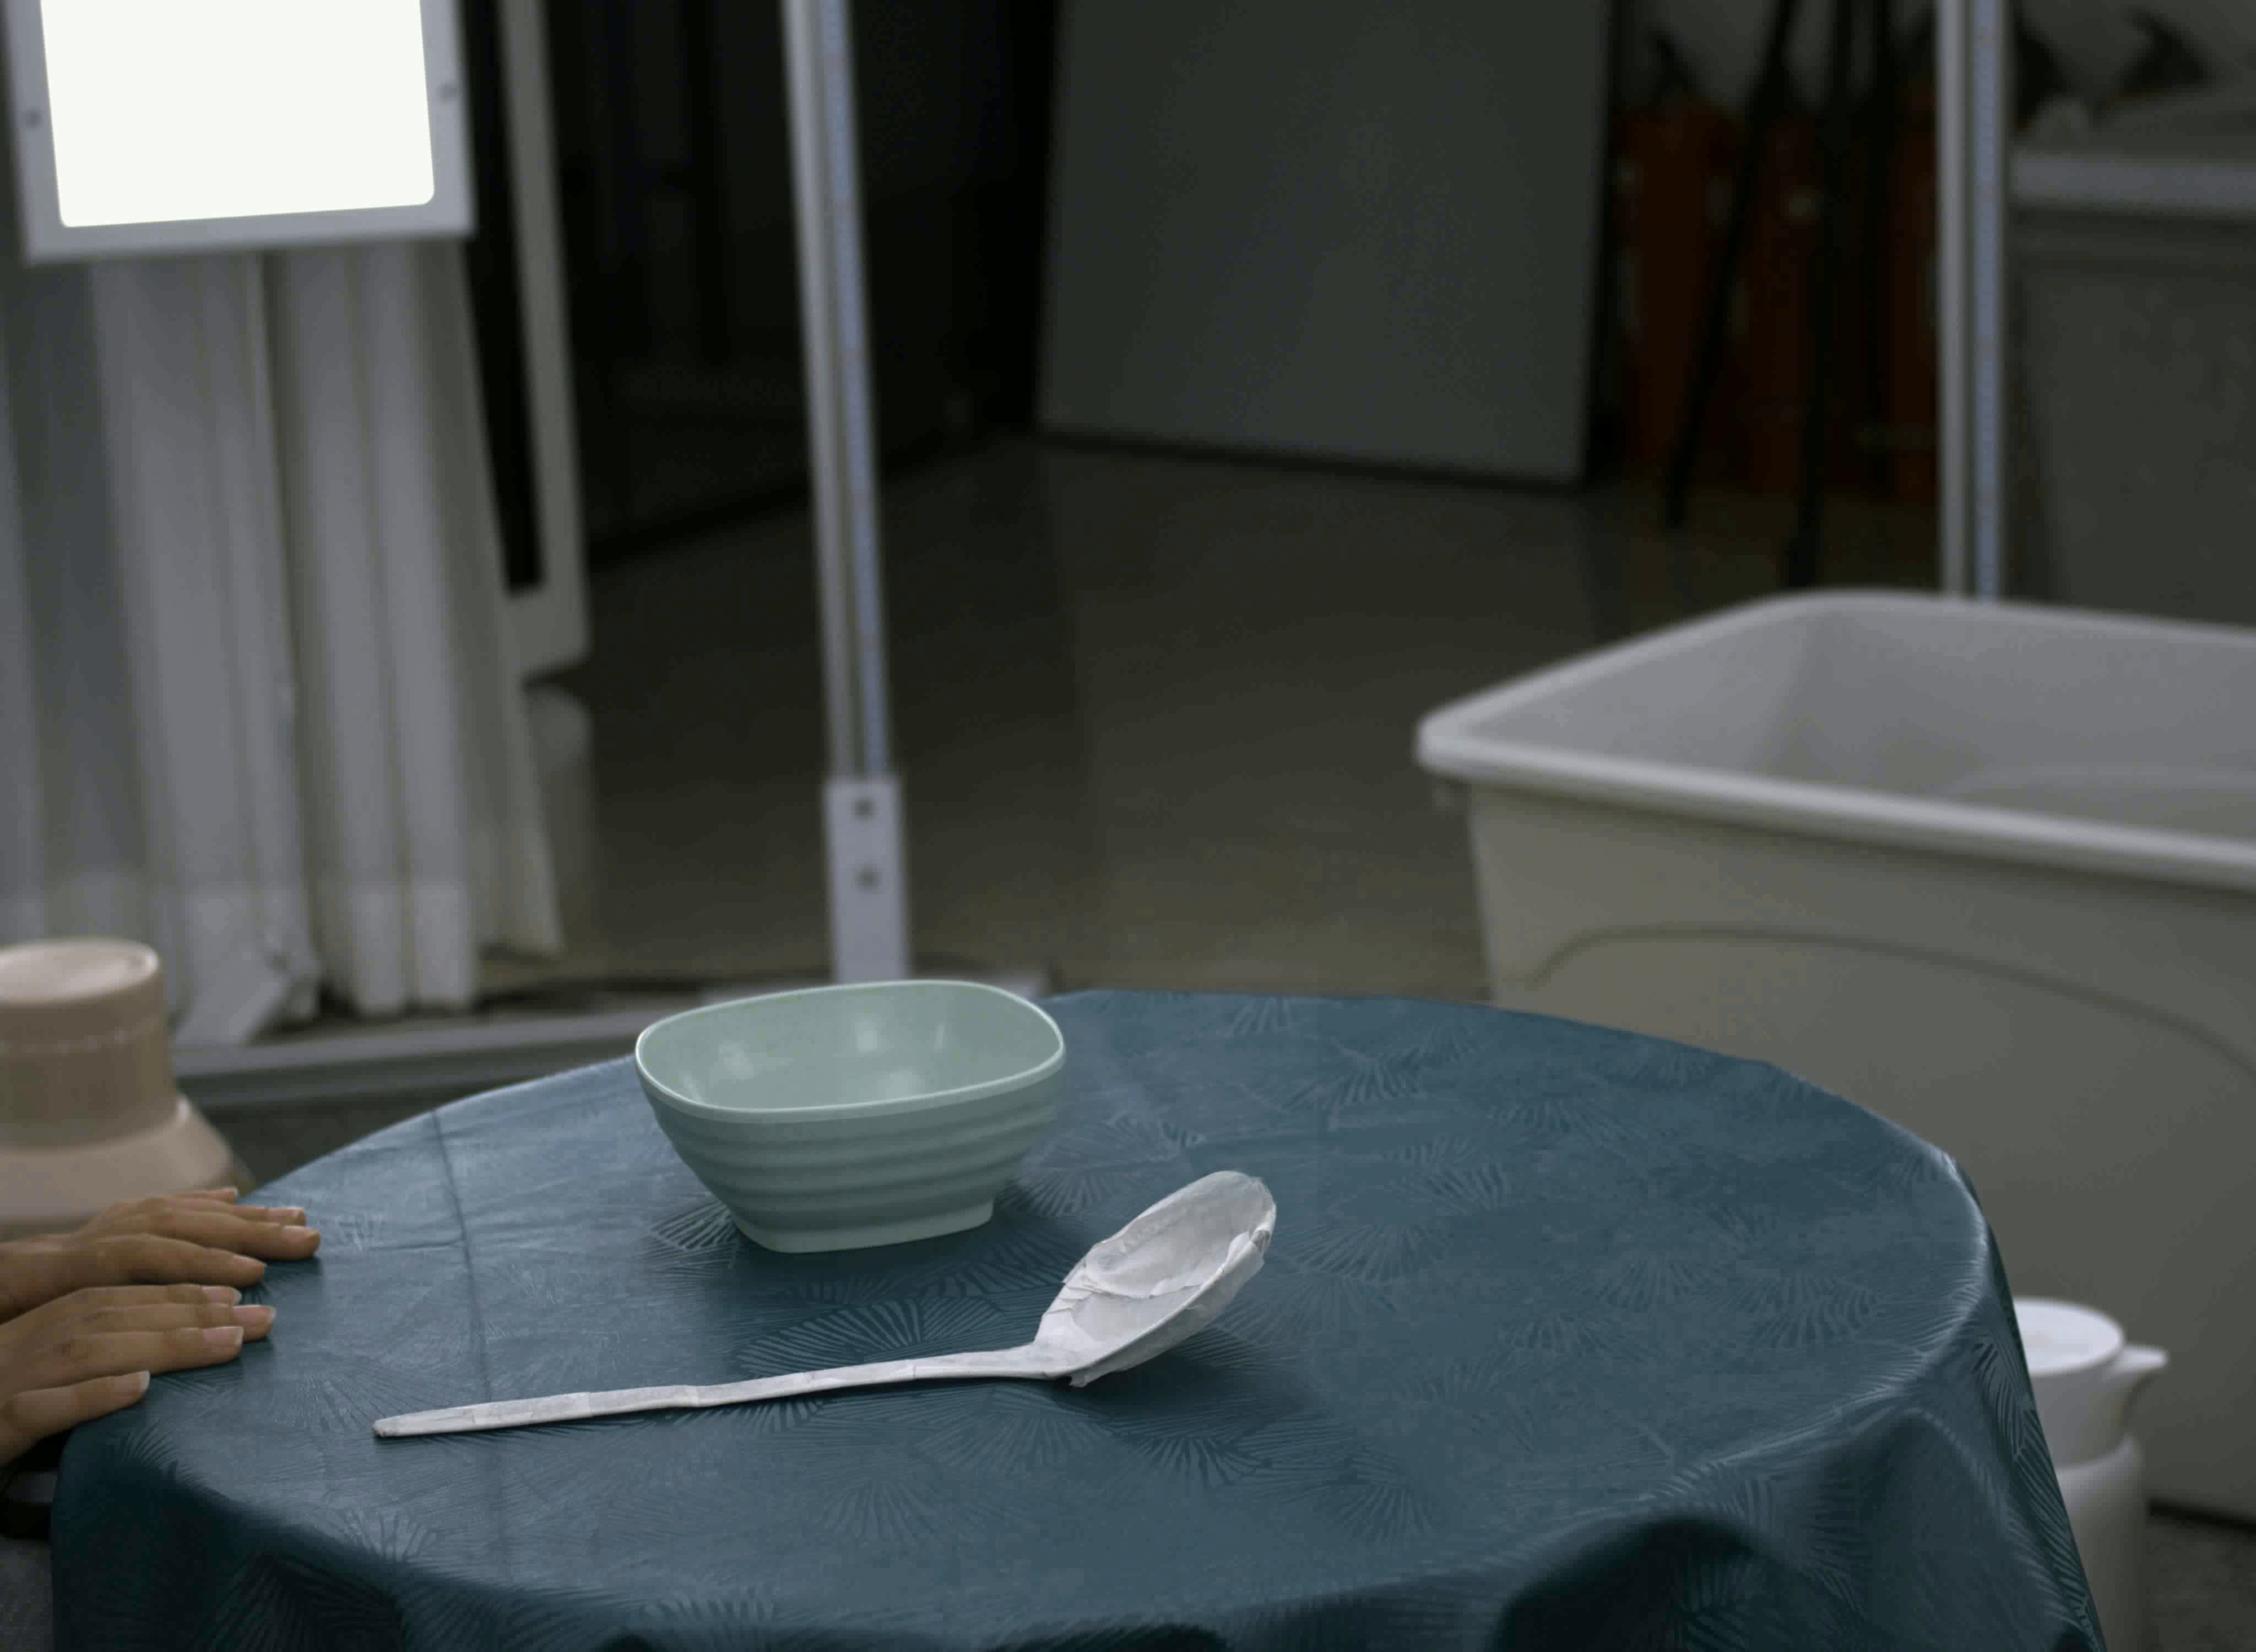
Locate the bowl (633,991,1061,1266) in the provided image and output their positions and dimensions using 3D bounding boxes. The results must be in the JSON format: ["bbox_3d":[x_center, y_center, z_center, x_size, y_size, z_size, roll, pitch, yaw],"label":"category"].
[{"bbox_3d":[-0.090,0.102,1.766,0.149,0.059,0.152,-4,14,0],"label":"bowl"}]

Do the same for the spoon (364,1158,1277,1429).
[{"bbox_3d":[-0.091,0.138,1.606,0.273,0.060,0.101,-4,9,-1],"label":"spoon"}]
